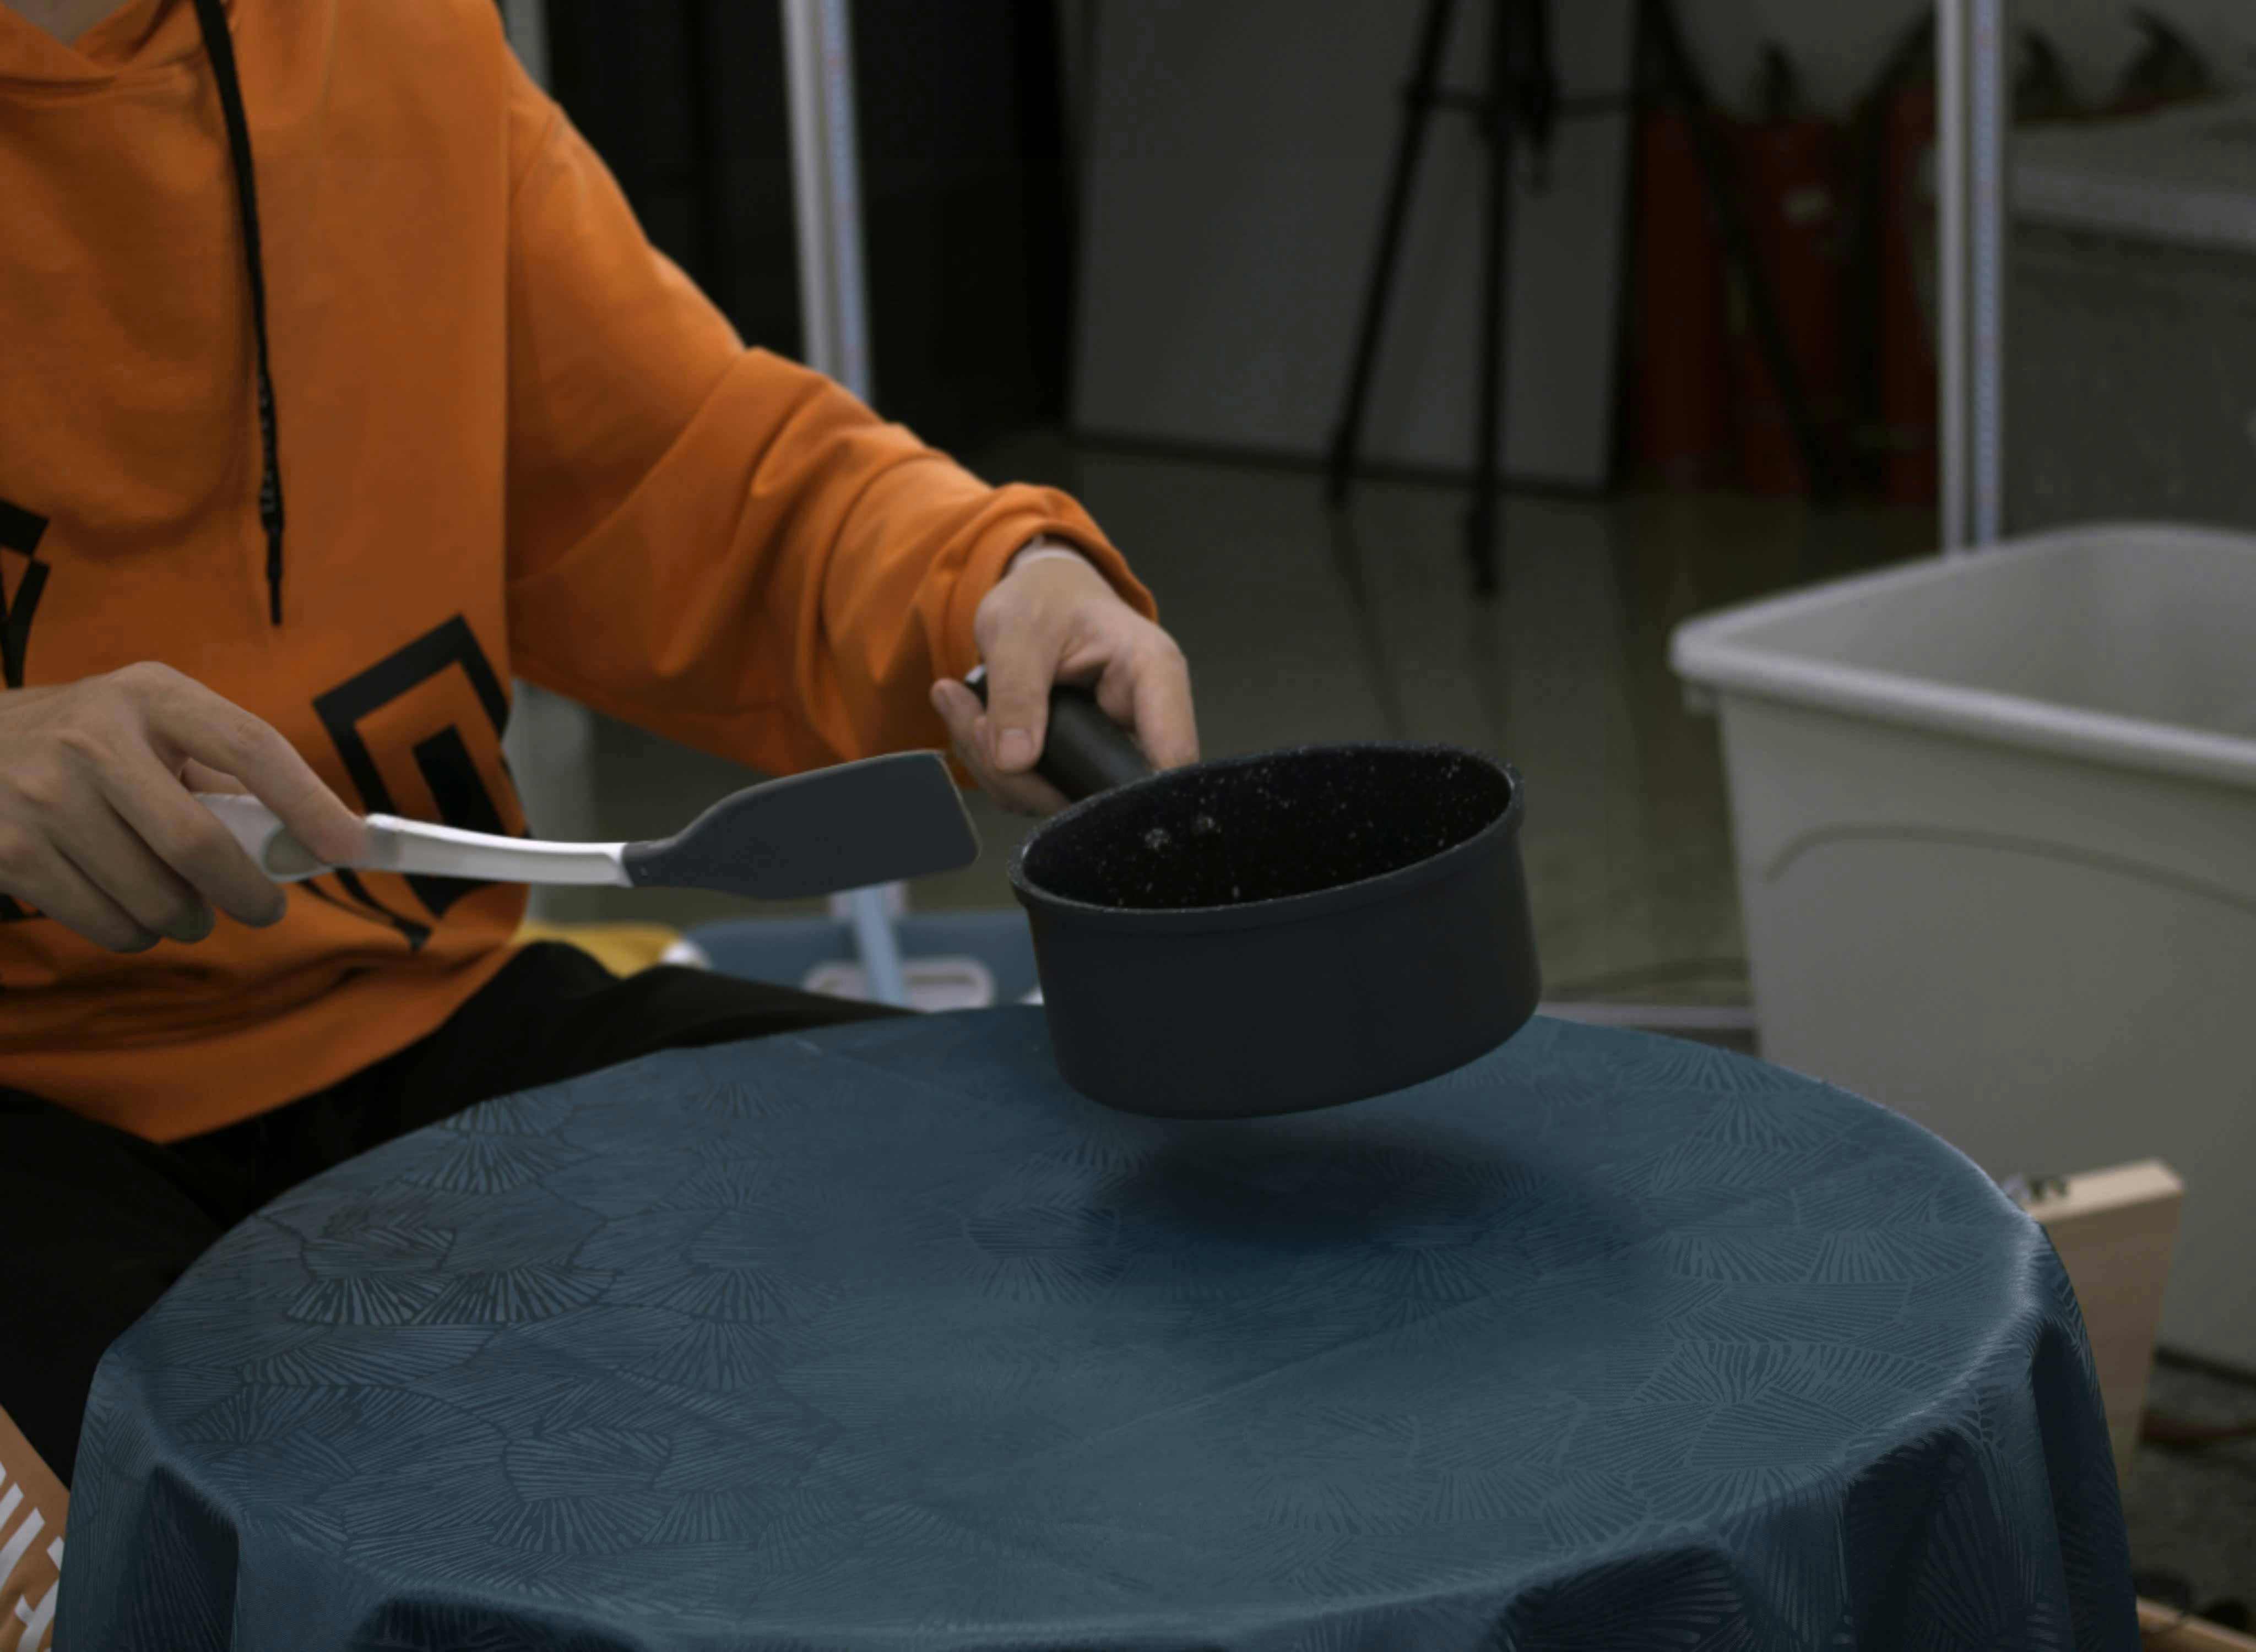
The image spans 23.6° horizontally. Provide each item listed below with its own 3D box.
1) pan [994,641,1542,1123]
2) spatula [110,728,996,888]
[{"bbox_3d":[0.023,0.013,1.823,0.169,0.087,0.332,-14,18,-16],"label":"pan"},{"bbox_3d":[-0.179,-0.001,1.652,0.287,0.058,0.032,-2,49,22],"label":"spatula"}]
